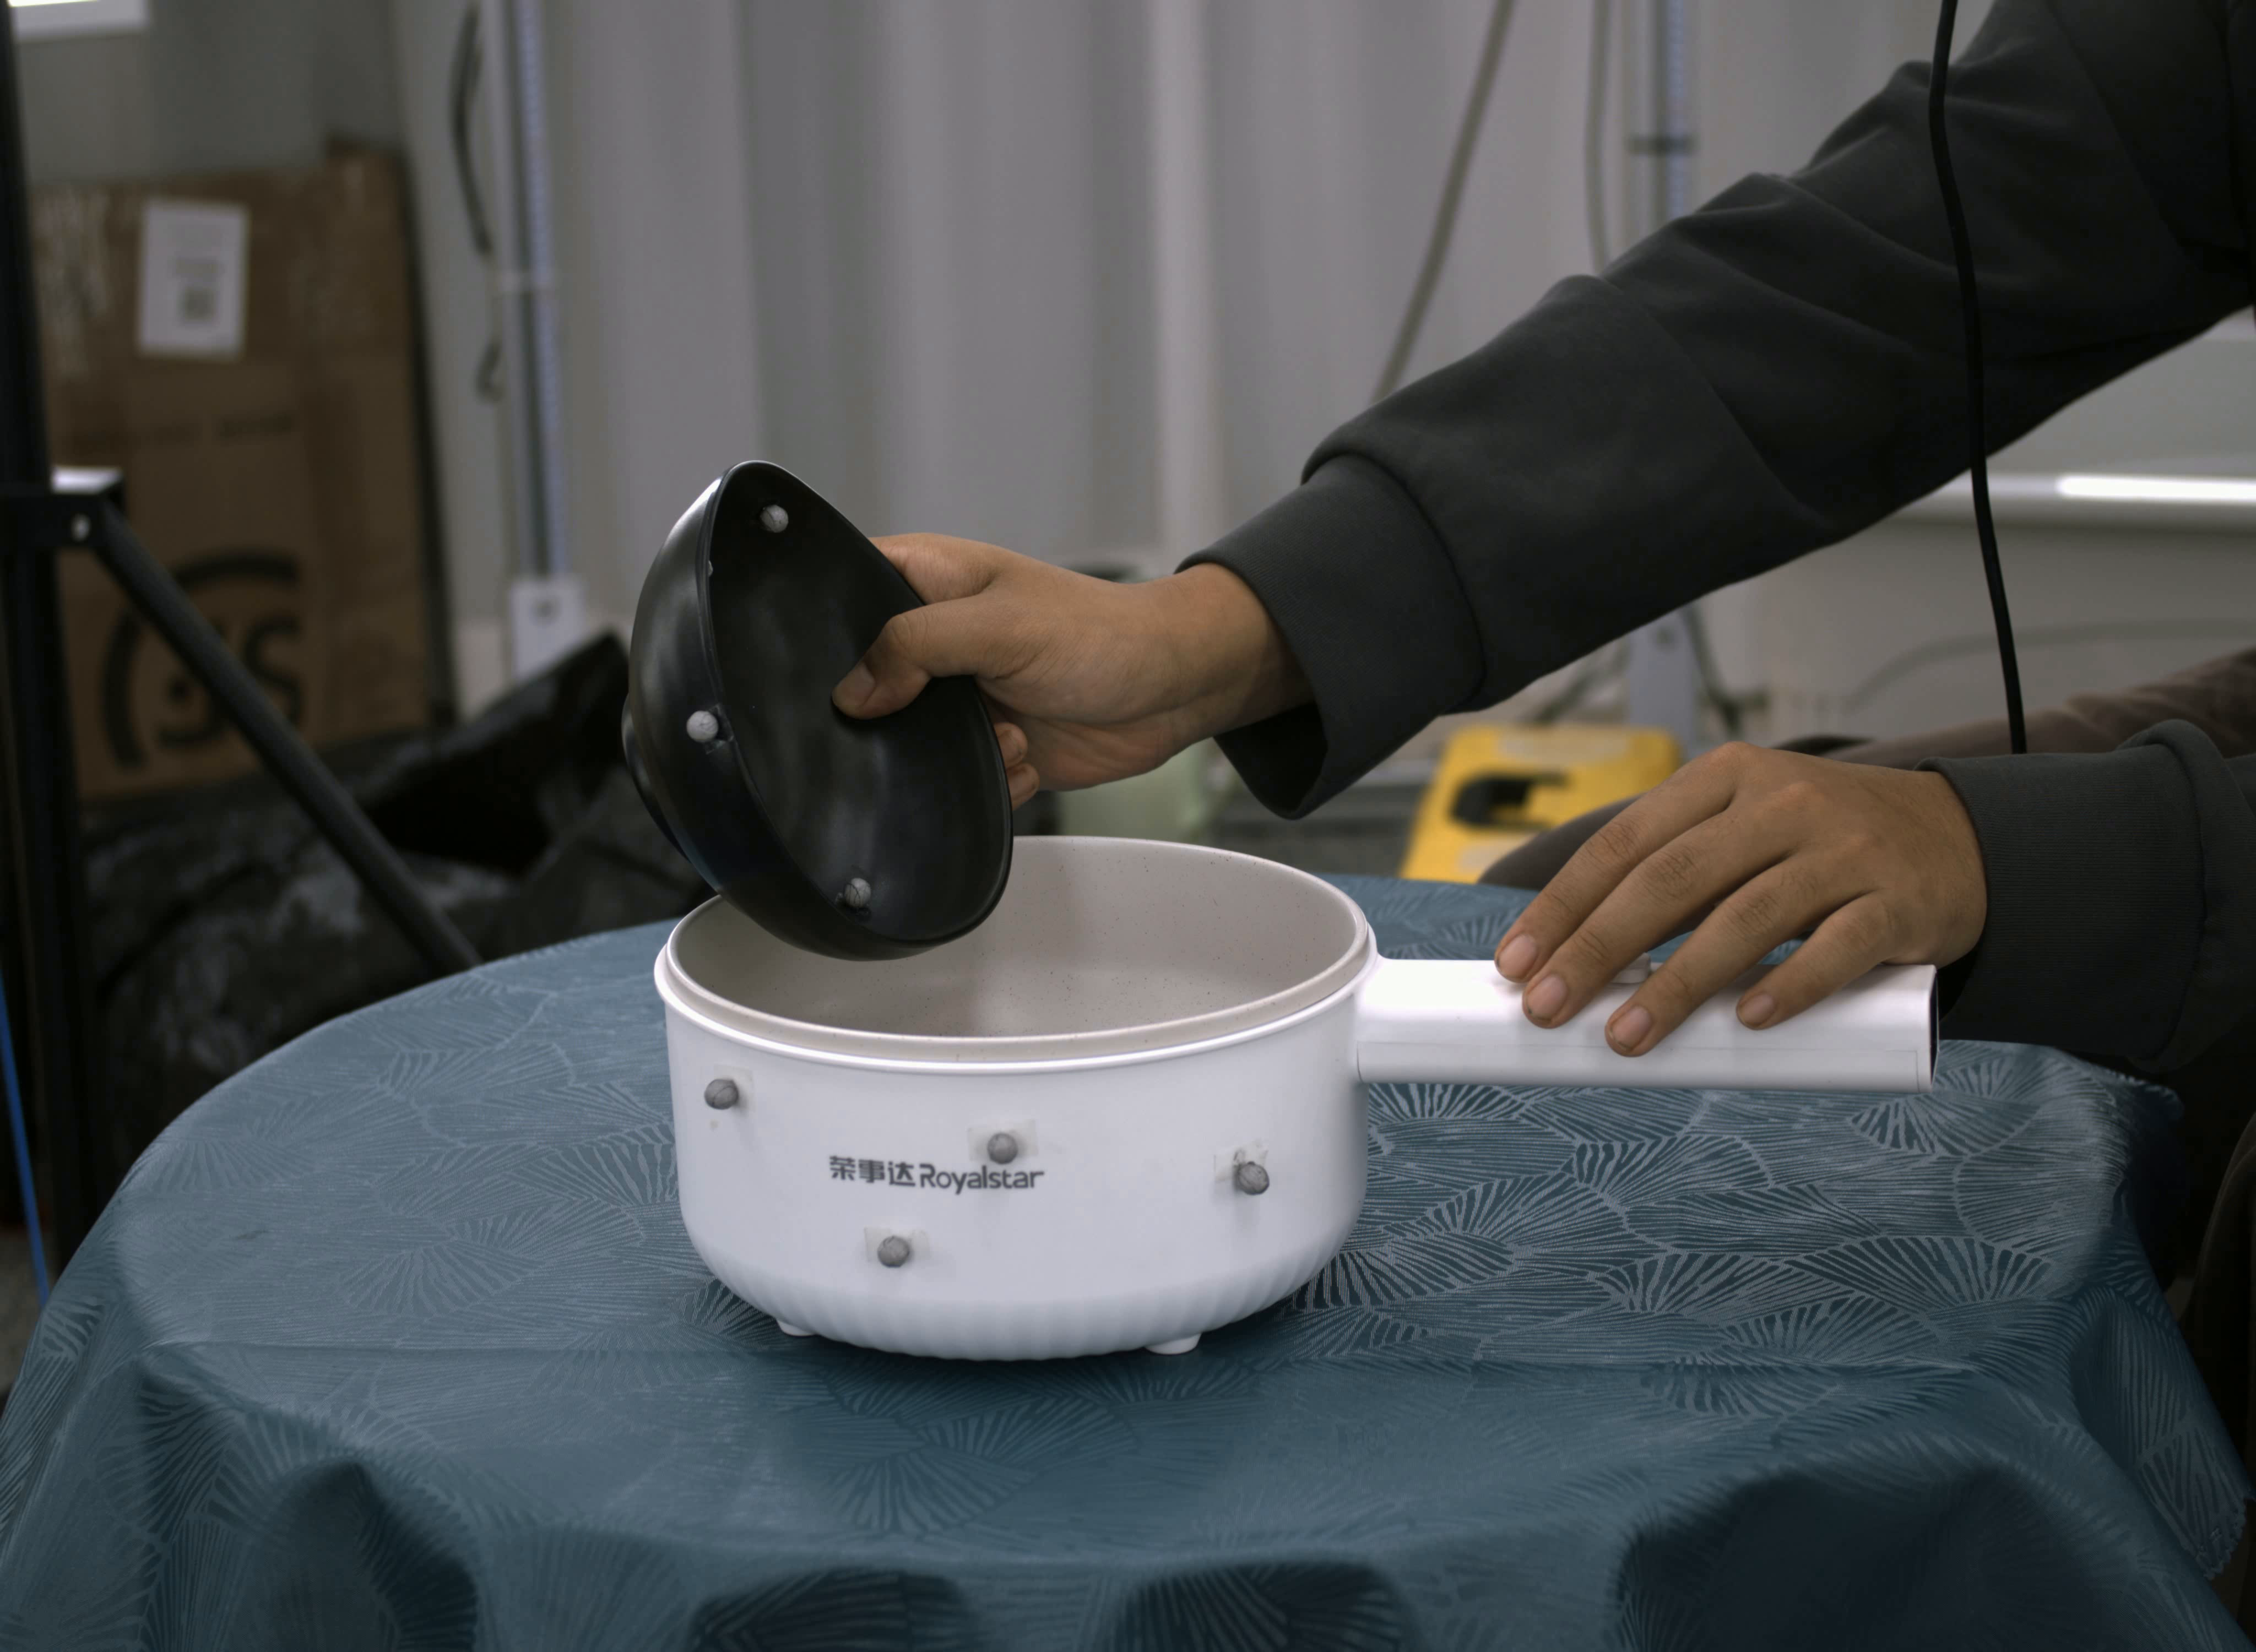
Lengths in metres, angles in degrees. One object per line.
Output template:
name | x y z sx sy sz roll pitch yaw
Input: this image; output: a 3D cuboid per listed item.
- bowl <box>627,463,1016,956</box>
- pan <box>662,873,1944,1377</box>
bowl | -0.099 -0.027 1.514 0.067 0.134 0.172 -31 37 25
pan | 0.046 0.089 1.467 0.357 0.102 0.200 3 13 12
